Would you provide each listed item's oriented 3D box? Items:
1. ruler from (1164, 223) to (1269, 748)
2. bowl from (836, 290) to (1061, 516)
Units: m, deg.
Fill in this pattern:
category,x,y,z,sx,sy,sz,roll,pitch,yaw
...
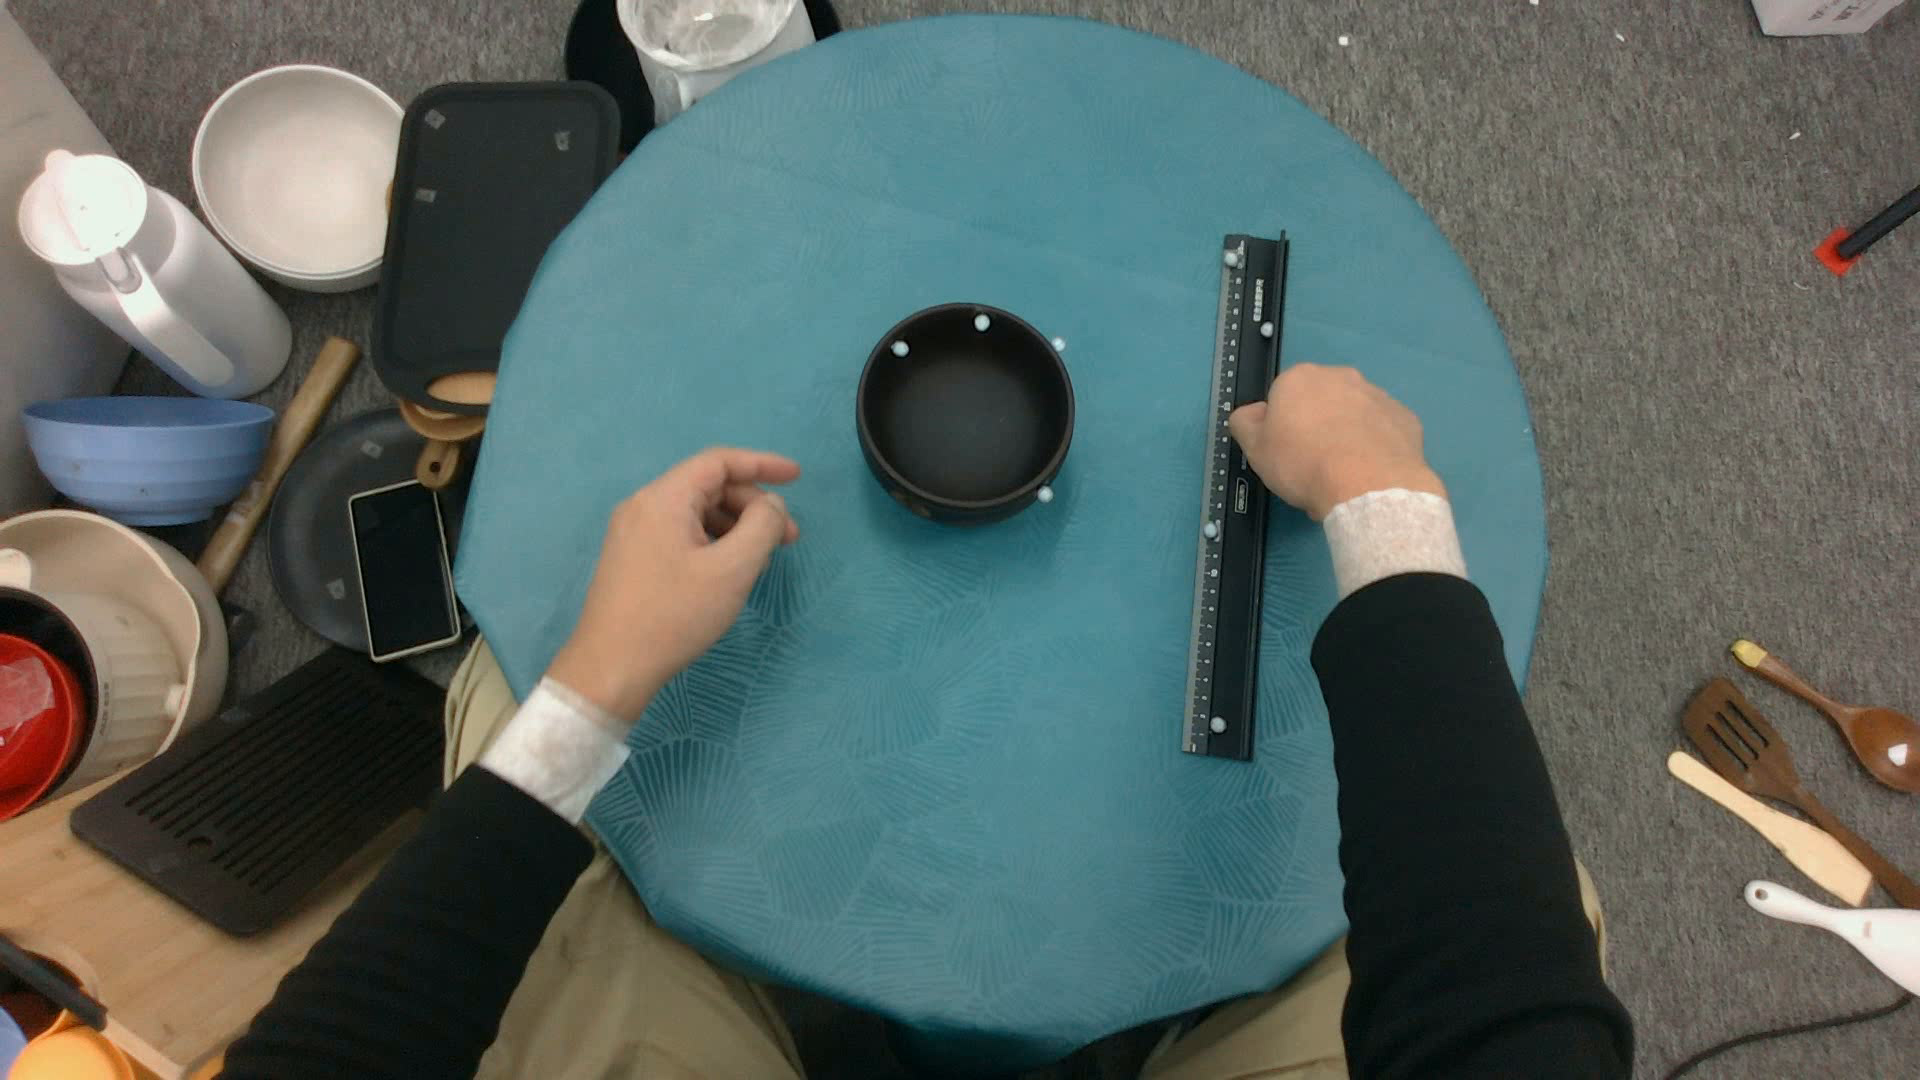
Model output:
category,x,y,z,sx,sy,sz,roll,pitch,yaw
ruler,0.148,-0.041,0.776,0.039,0.017,0.313,7,73,2
bowl,-0.007,-0.067,0.742,0.118,0.069,0.118,1,73,-3
